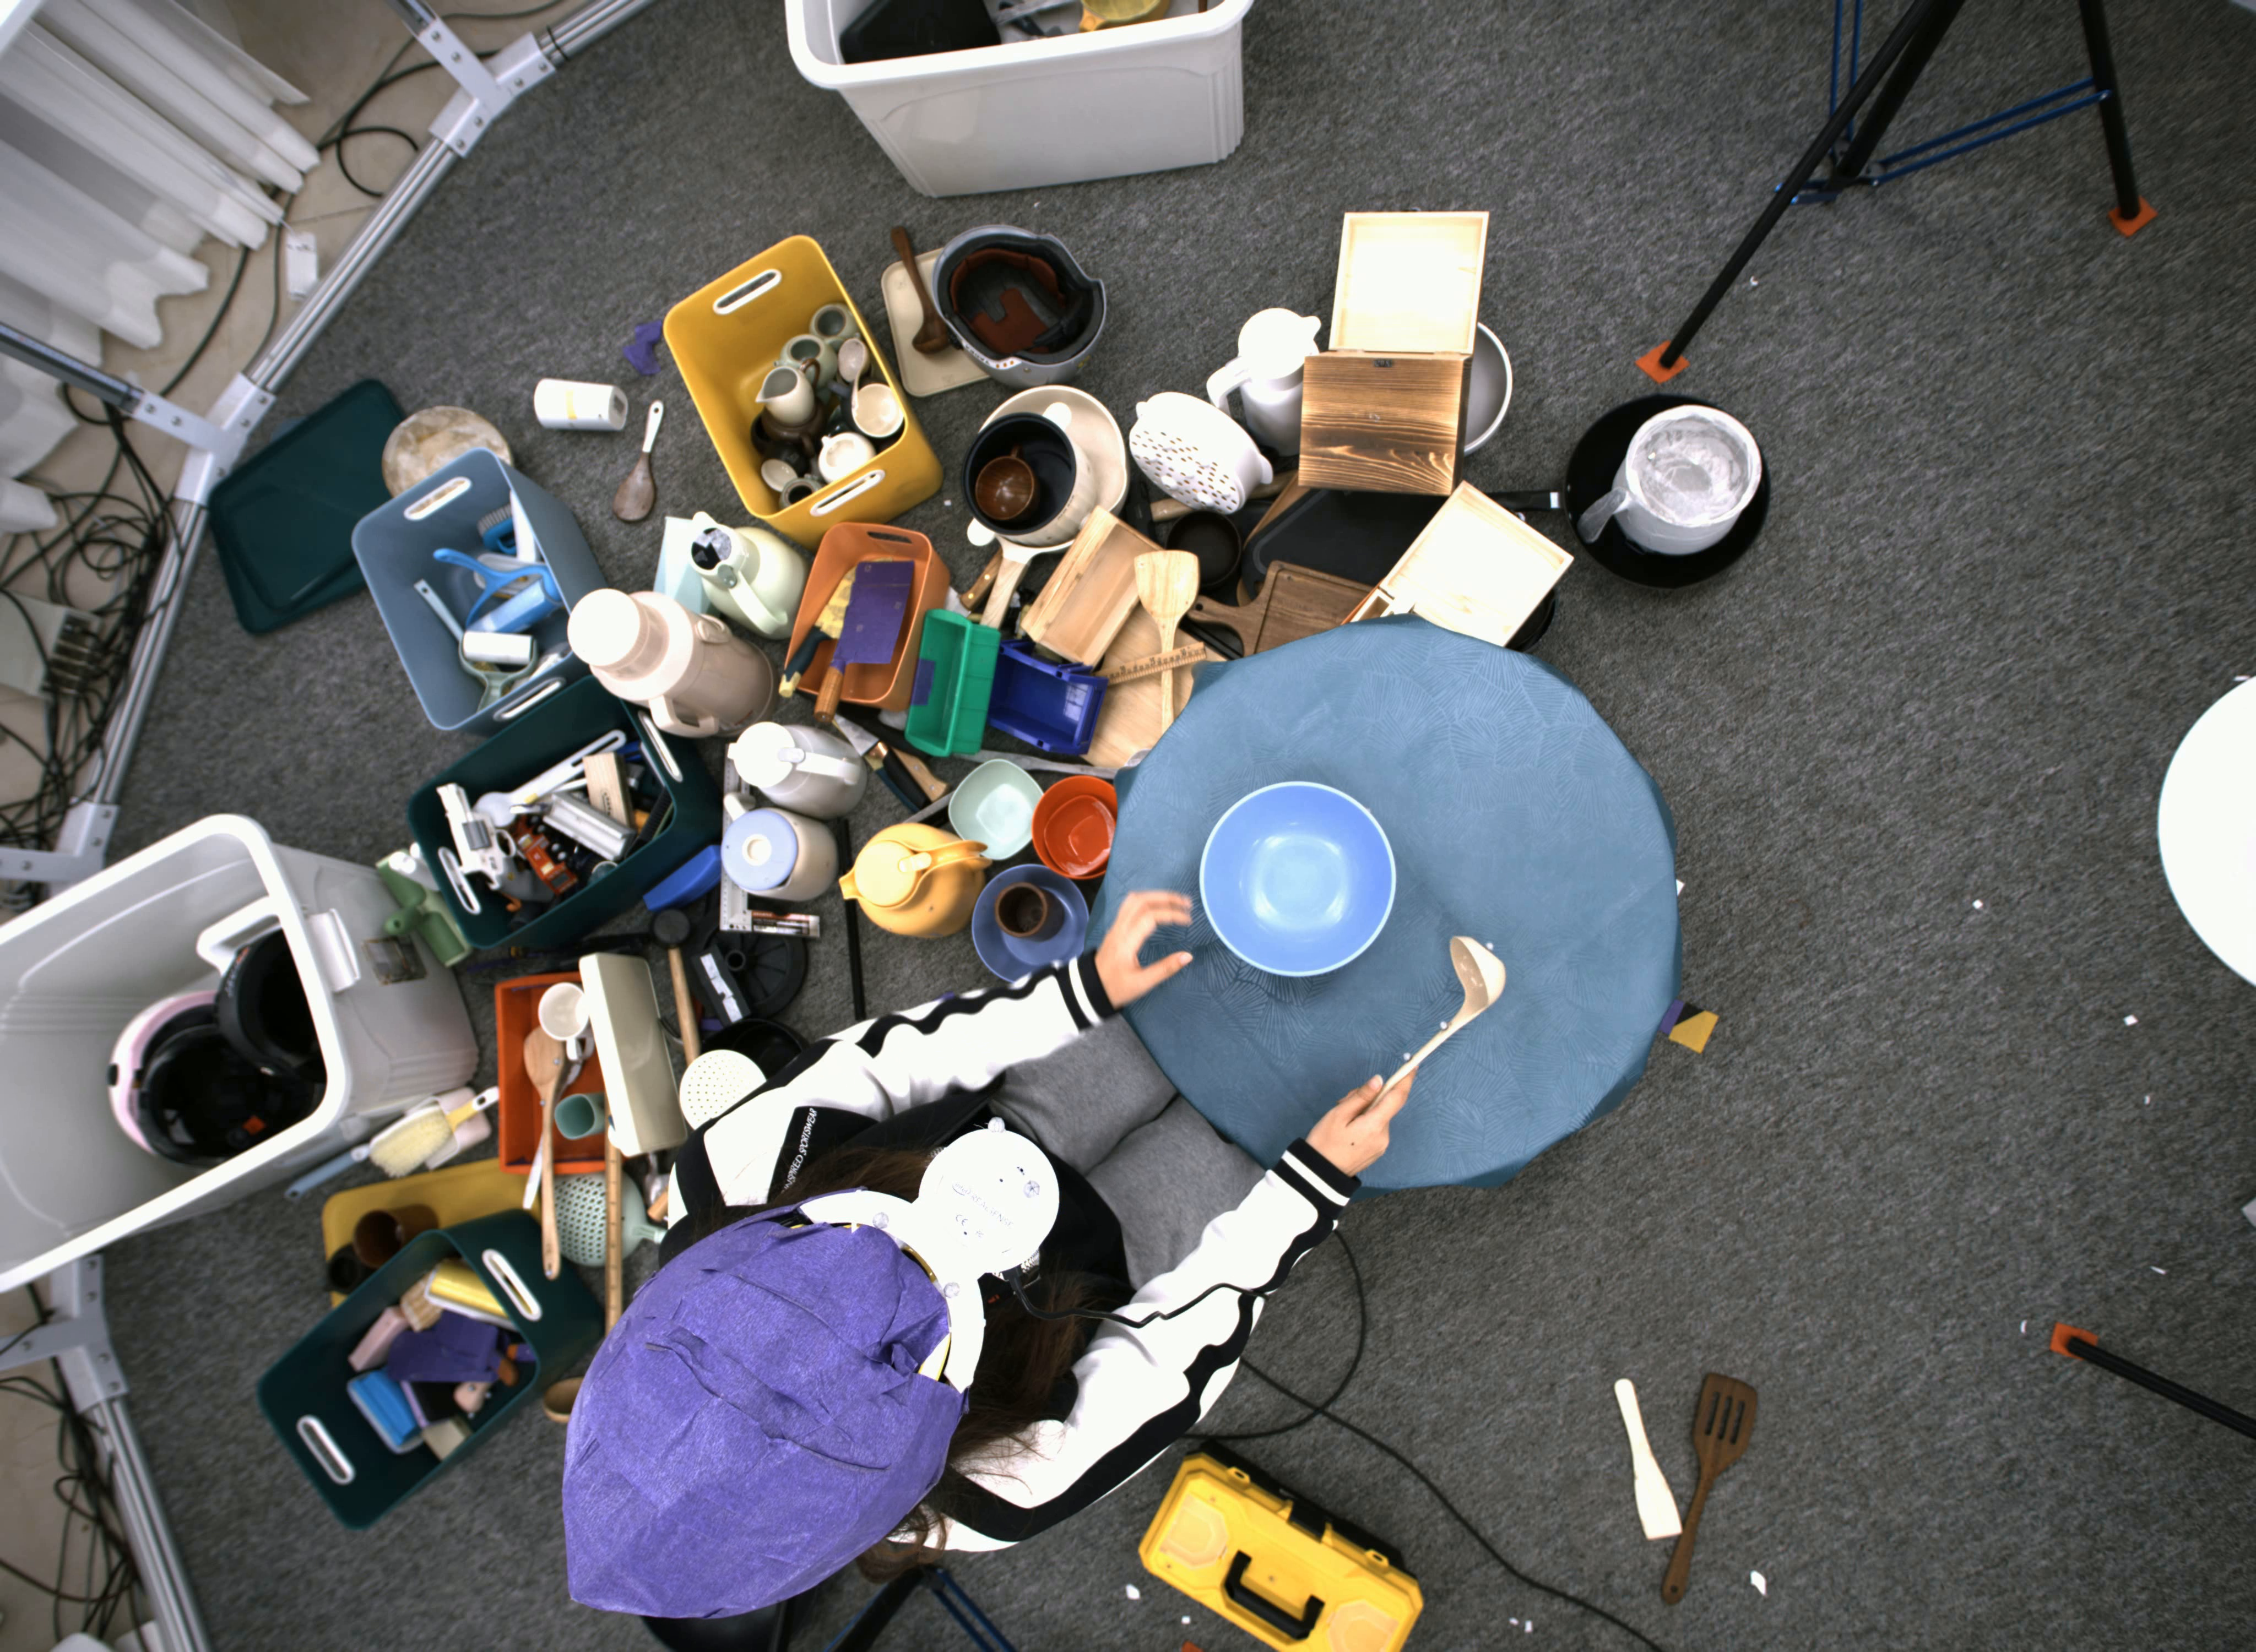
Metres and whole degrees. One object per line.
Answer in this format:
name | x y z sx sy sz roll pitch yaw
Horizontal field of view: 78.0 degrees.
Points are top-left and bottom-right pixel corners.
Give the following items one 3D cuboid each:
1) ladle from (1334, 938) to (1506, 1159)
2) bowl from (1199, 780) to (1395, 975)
ladle | 0.271 0.215 1.364 0.255 0.071 0.073 -47 115 2
bowl | 0.175 0.057 1.430 0.197 0.096 0.195 -1 84 9
